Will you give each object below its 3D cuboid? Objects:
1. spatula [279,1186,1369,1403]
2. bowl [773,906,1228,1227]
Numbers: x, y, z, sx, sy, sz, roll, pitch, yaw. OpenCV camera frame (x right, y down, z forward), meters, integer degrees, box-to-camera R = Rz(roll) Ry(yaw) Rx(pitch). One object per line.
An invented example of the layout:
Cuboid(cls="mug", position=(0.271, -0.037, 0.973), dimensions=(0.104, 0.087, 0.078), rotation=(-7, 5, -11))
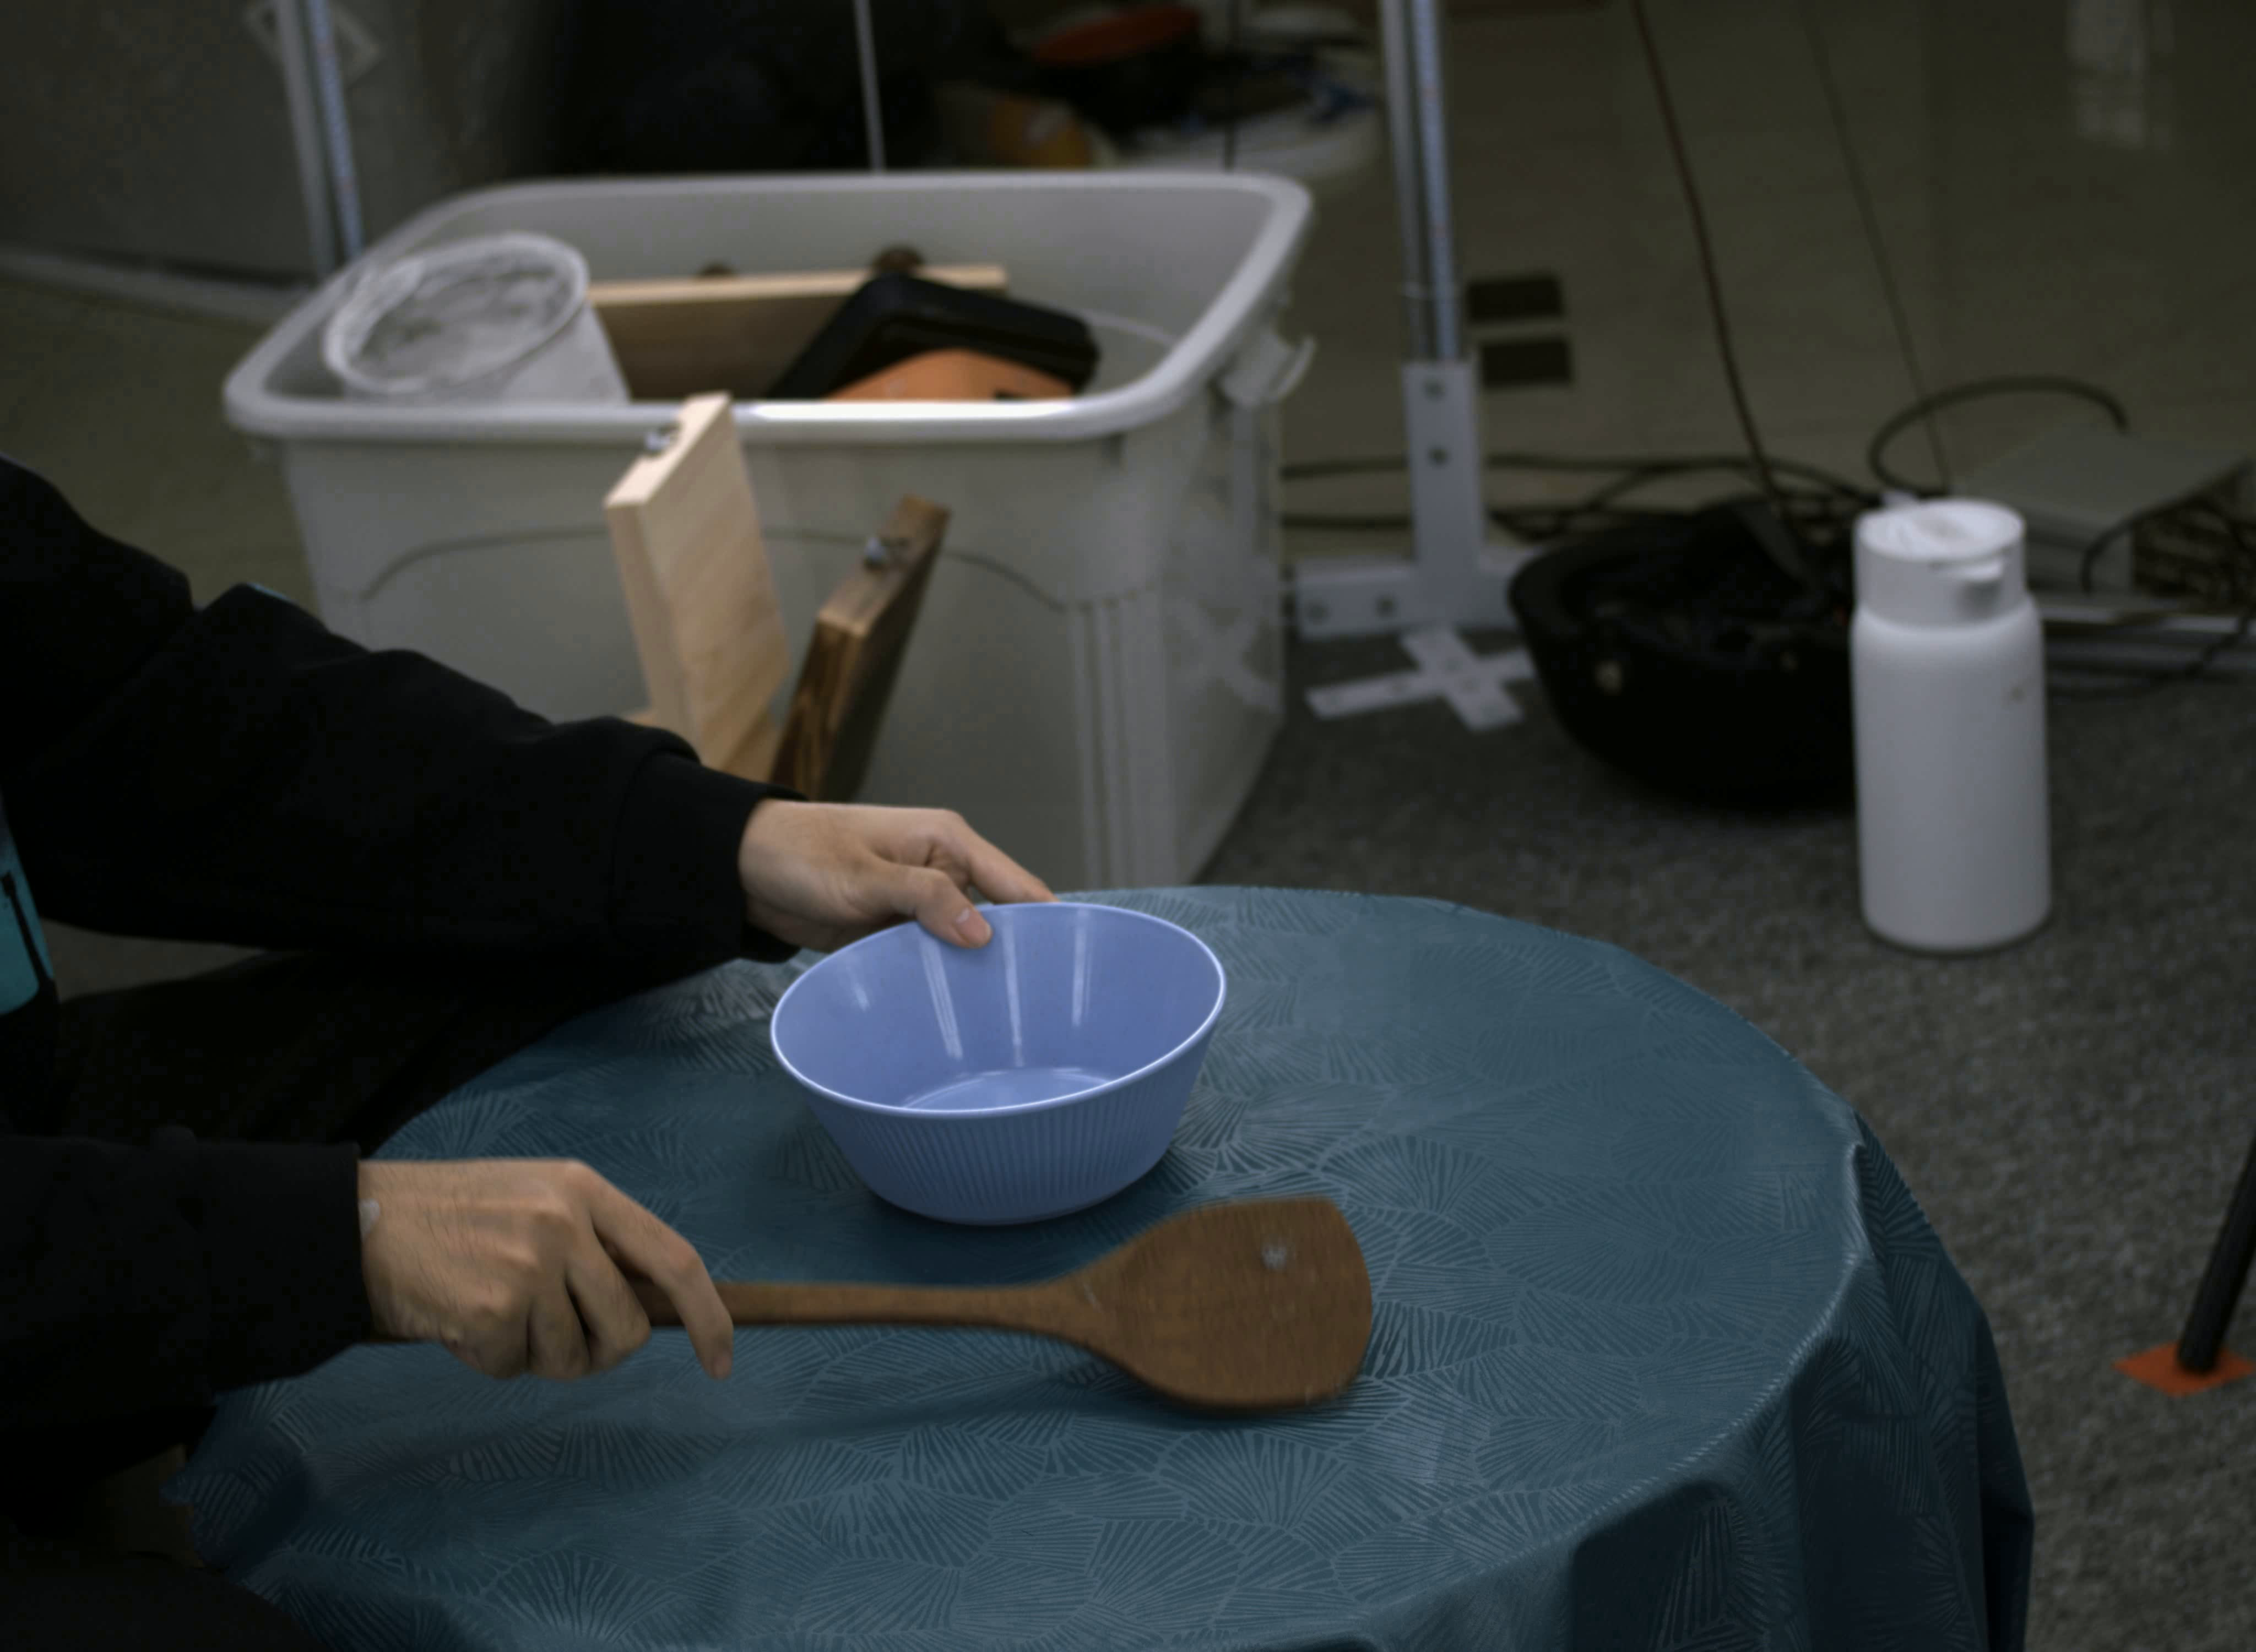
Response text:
Cuboid(cls="spatula", position=(-0.107, 0.167, 2.008), dimensions=(0.385, 0.016, 0.094), rotation=(0, 48, -4))
Cuboid(cls="bowl", position=(-0.045, 0.098, 2.169), dimensions=(0.176, 0.071, 0.173), rotation=(-7, 24, 3))
